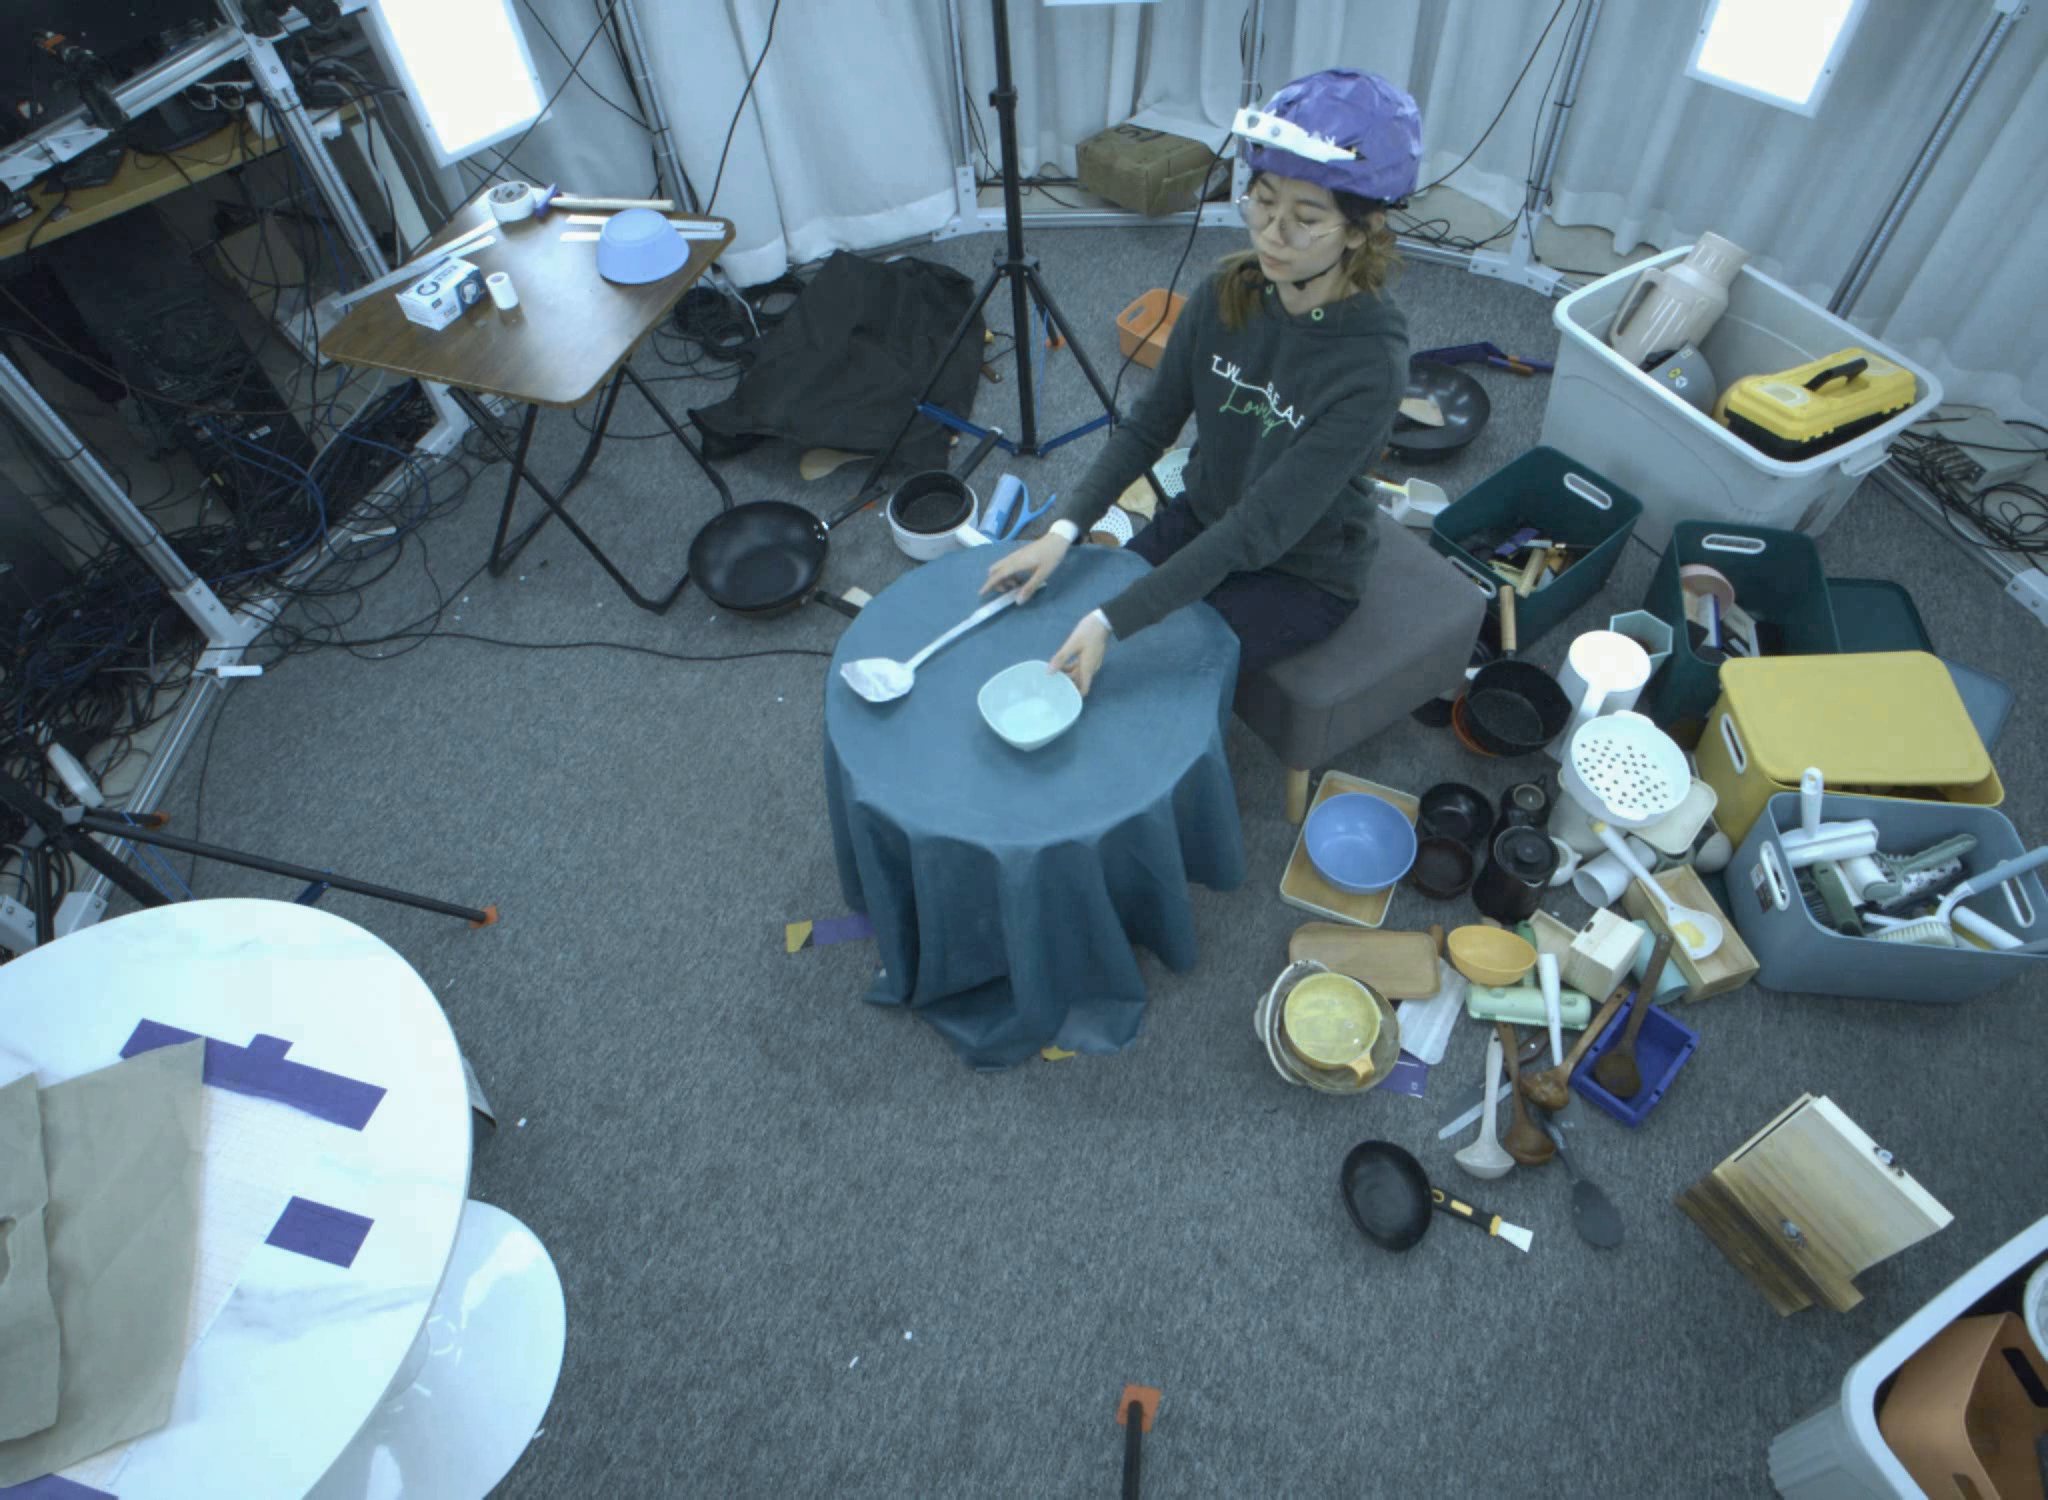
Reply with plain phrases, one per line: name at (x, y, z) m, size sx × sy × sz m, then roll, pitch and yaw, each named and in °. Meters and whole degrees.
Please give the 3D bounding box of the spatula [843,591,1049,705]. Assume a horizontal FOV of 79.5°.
spatula at (-0.111, -0.172, 1.899) m, size 0.368 × 0.045 × 0.097 m, roll -34°, pitch 59°, yaw -20°

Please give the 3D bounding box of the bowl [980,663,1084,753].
bowl at (0.012, -0.051, 1.800) m, size 0.151 × 0.059 × 0.150 m, roll 0°, pitch 57°, yaw 1°
